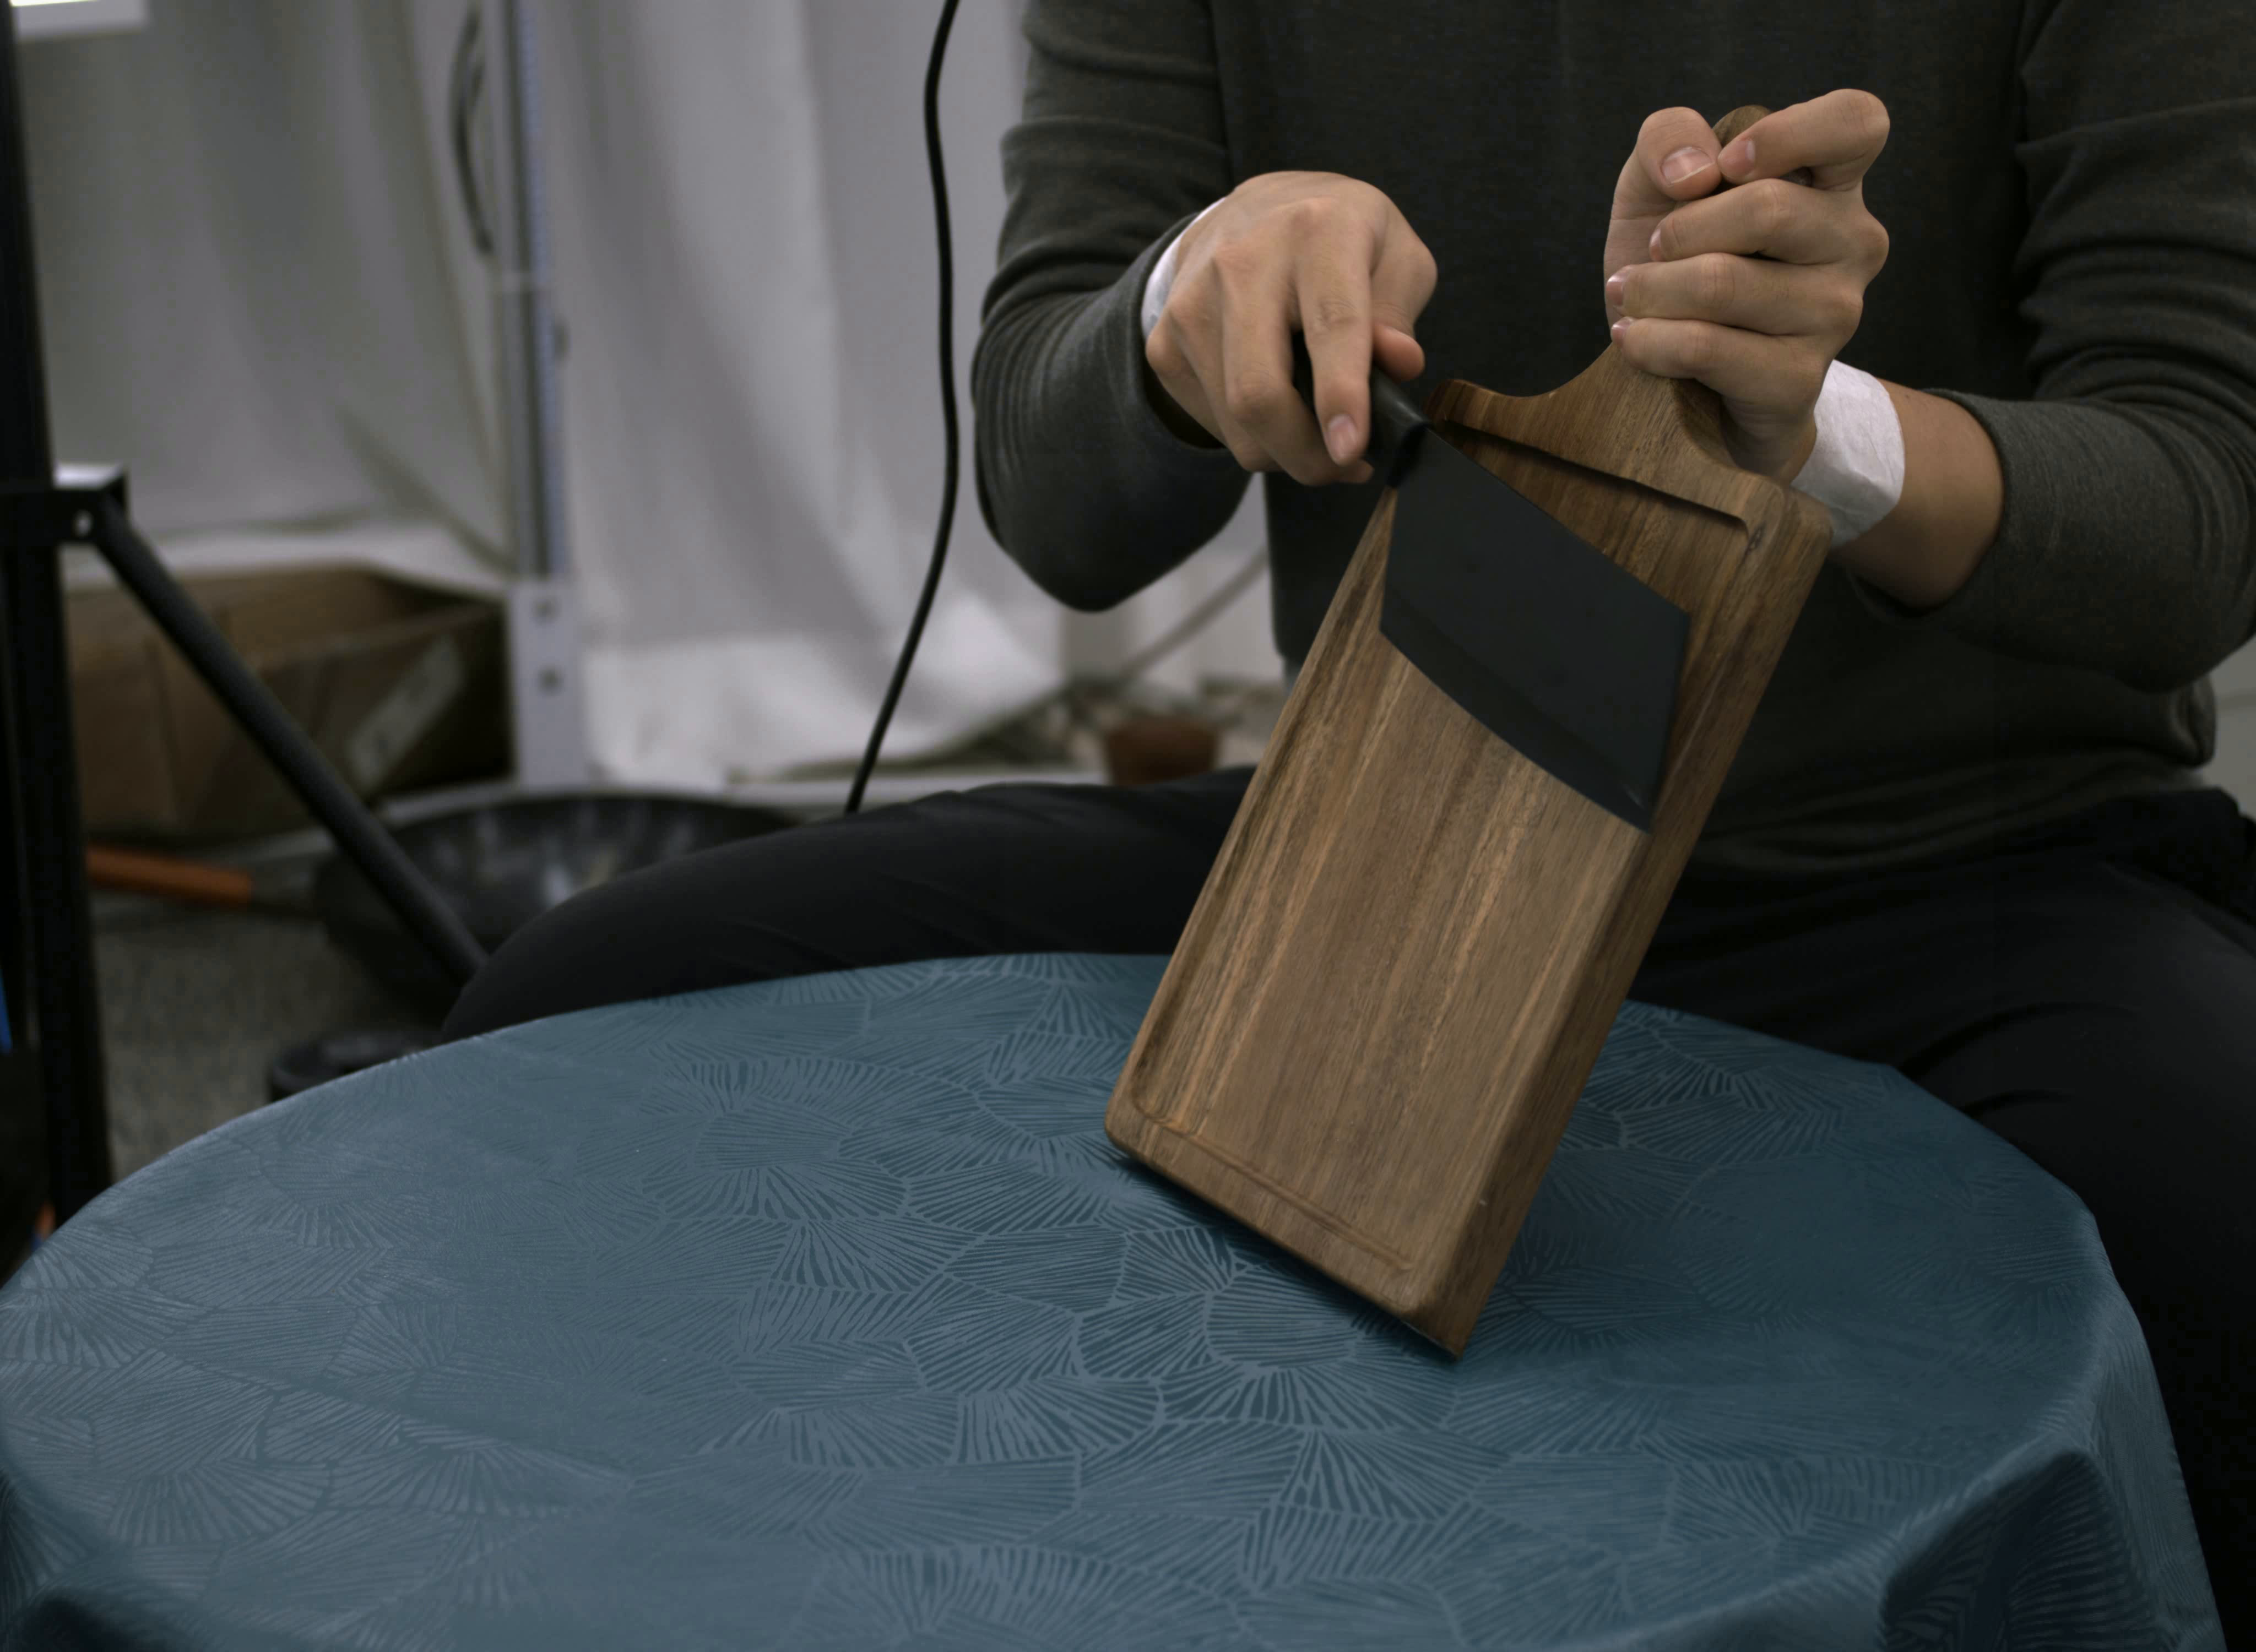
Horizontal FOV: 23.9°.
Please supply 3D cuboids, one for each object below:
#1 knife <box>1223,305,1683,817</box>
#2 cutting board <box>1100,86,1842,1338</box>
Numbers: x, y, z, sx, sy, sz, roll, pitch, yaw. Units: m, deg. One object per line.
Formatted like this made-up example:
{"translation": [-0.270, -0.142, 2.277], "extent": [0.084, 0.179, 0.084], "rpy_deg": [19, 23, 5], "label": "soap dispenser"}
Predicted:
{"translation": [0.087, -0.082, 1.493], "extent": [0.020, 0.081, 0.308], "rpy_deg": [1, 24, -22], "label": "knife"}
{"translation": [0.112, -0.043, 1.504], "extent": [0.022, 0.353, 0.205], "rpy_deg": [24, 1, -31], "label": "cutting board"}
